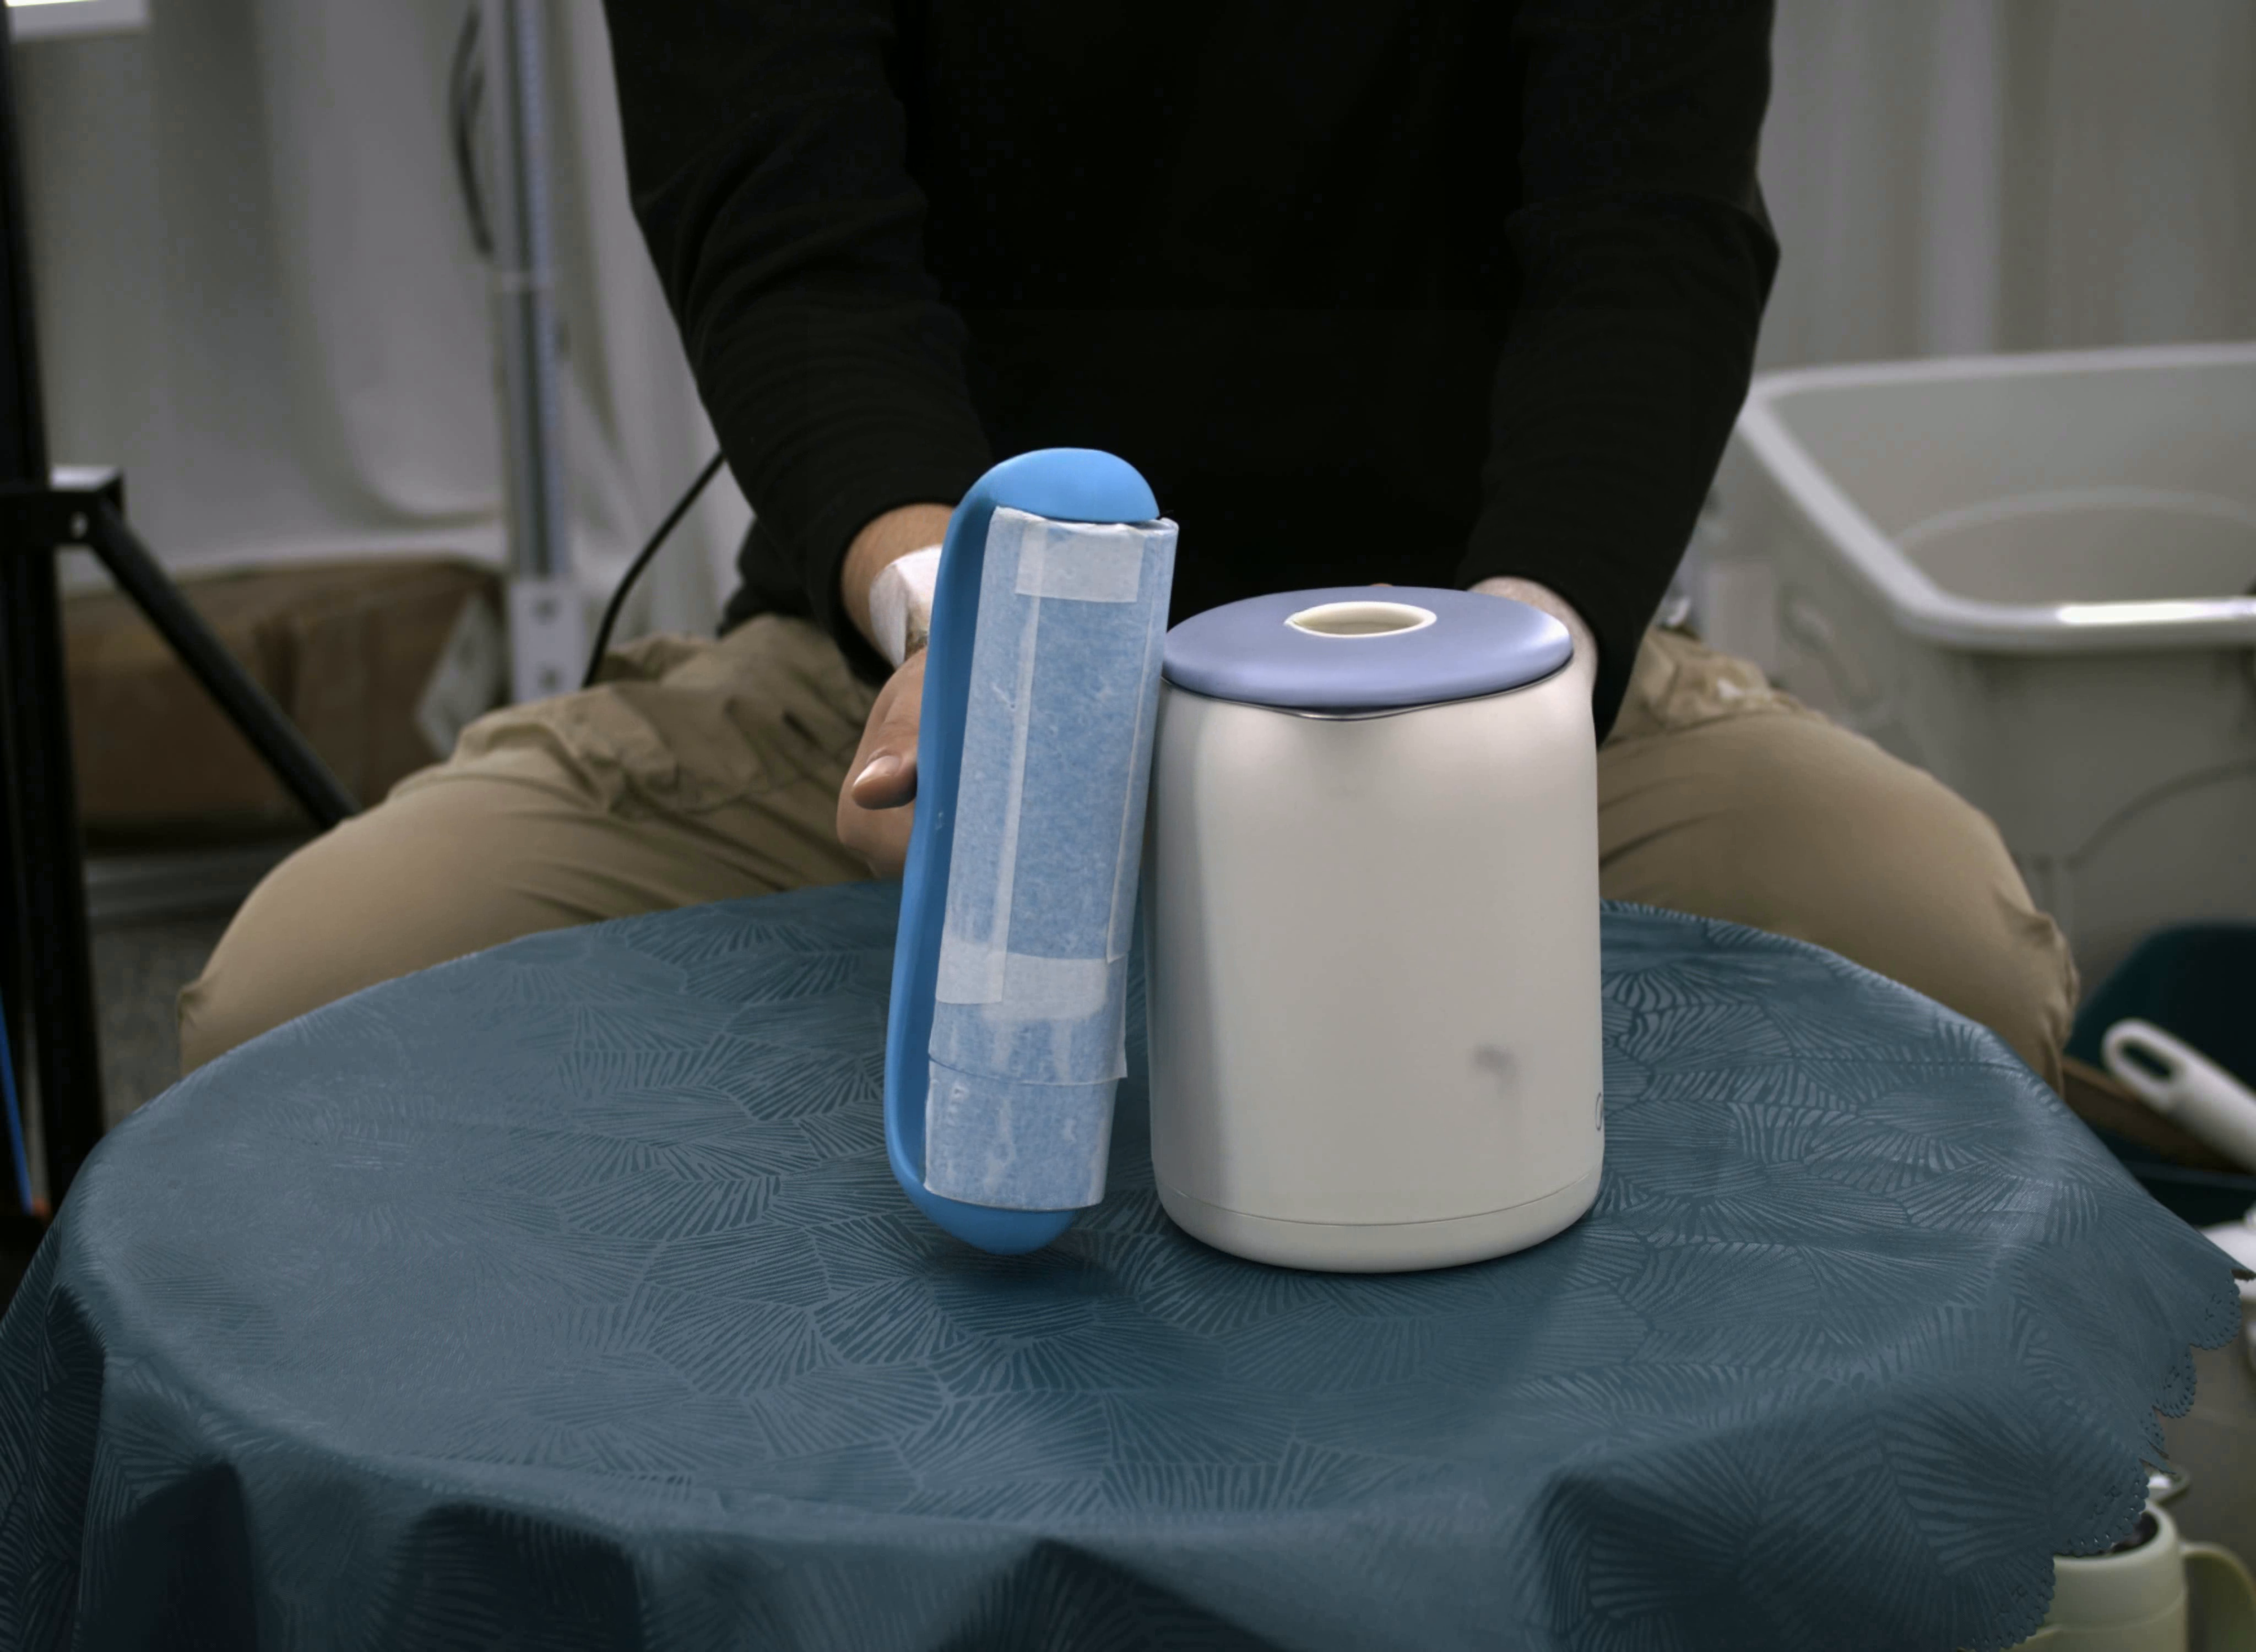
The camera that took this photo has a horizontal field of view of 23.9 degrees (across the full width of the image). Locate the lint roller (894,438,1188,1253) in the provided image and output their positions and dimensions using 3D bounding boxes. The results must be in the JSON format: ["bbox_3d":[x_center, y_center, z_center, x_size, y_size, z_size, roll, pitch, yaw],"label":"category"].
[{"bbox_3d":[-0.032,-0.002,1.540,0.067,0.230,0.182,3,7,-11],"label":"lint roller"}]

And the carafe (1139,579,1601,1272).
[{"bbox_3d":[0.071,0.021,1.537,0.132,0.183,0.191,0,13,6],"label":"carafe"}]
